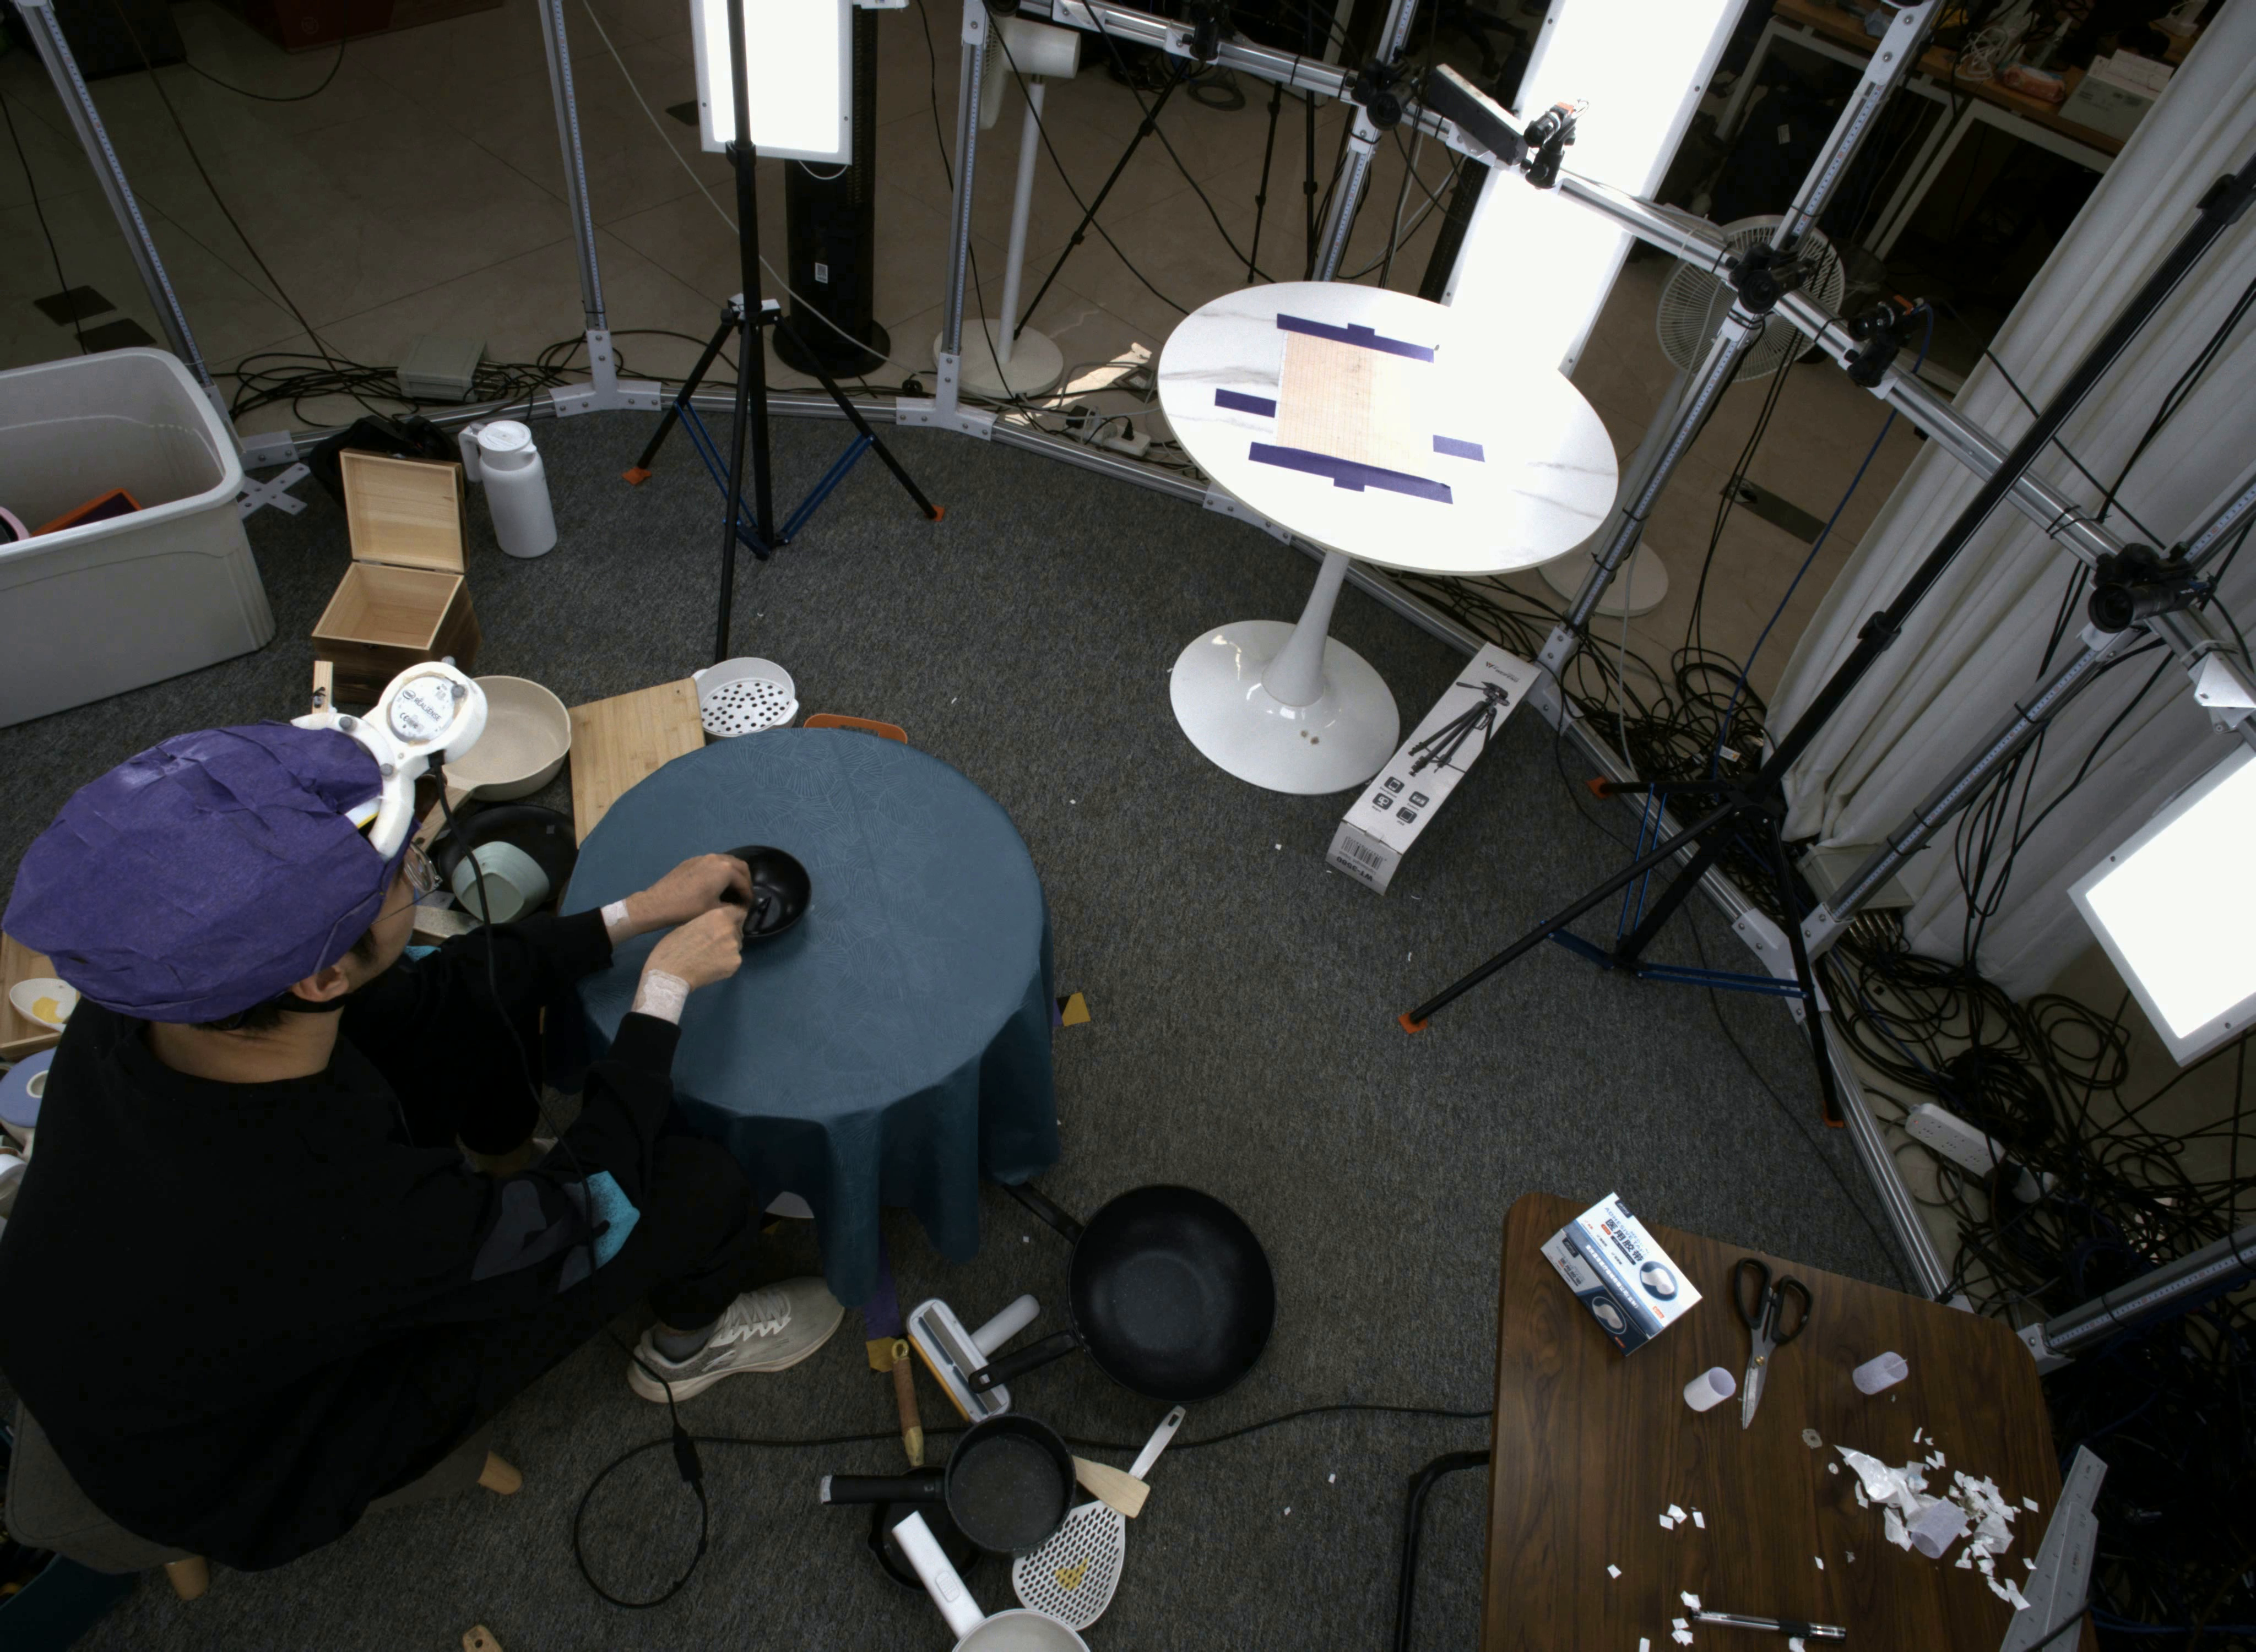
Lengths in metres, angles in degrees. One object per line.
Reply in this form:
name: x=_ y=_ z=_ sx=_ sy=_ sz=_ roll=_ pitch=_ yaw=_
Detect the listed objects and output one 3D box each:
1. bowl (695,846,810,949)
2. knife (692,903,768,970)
bowl: x=-0.464 y=0.094 z=1.604 sx=0.139 sy=0.050 sz=0.138 roll=7 pitch=57 yaw=-8
knife: x=-0.466 y=0.121 z=1.528 sx=0.017 sy=0.026 sz=0.223 roll=27 pitch=16 yaw=-2
